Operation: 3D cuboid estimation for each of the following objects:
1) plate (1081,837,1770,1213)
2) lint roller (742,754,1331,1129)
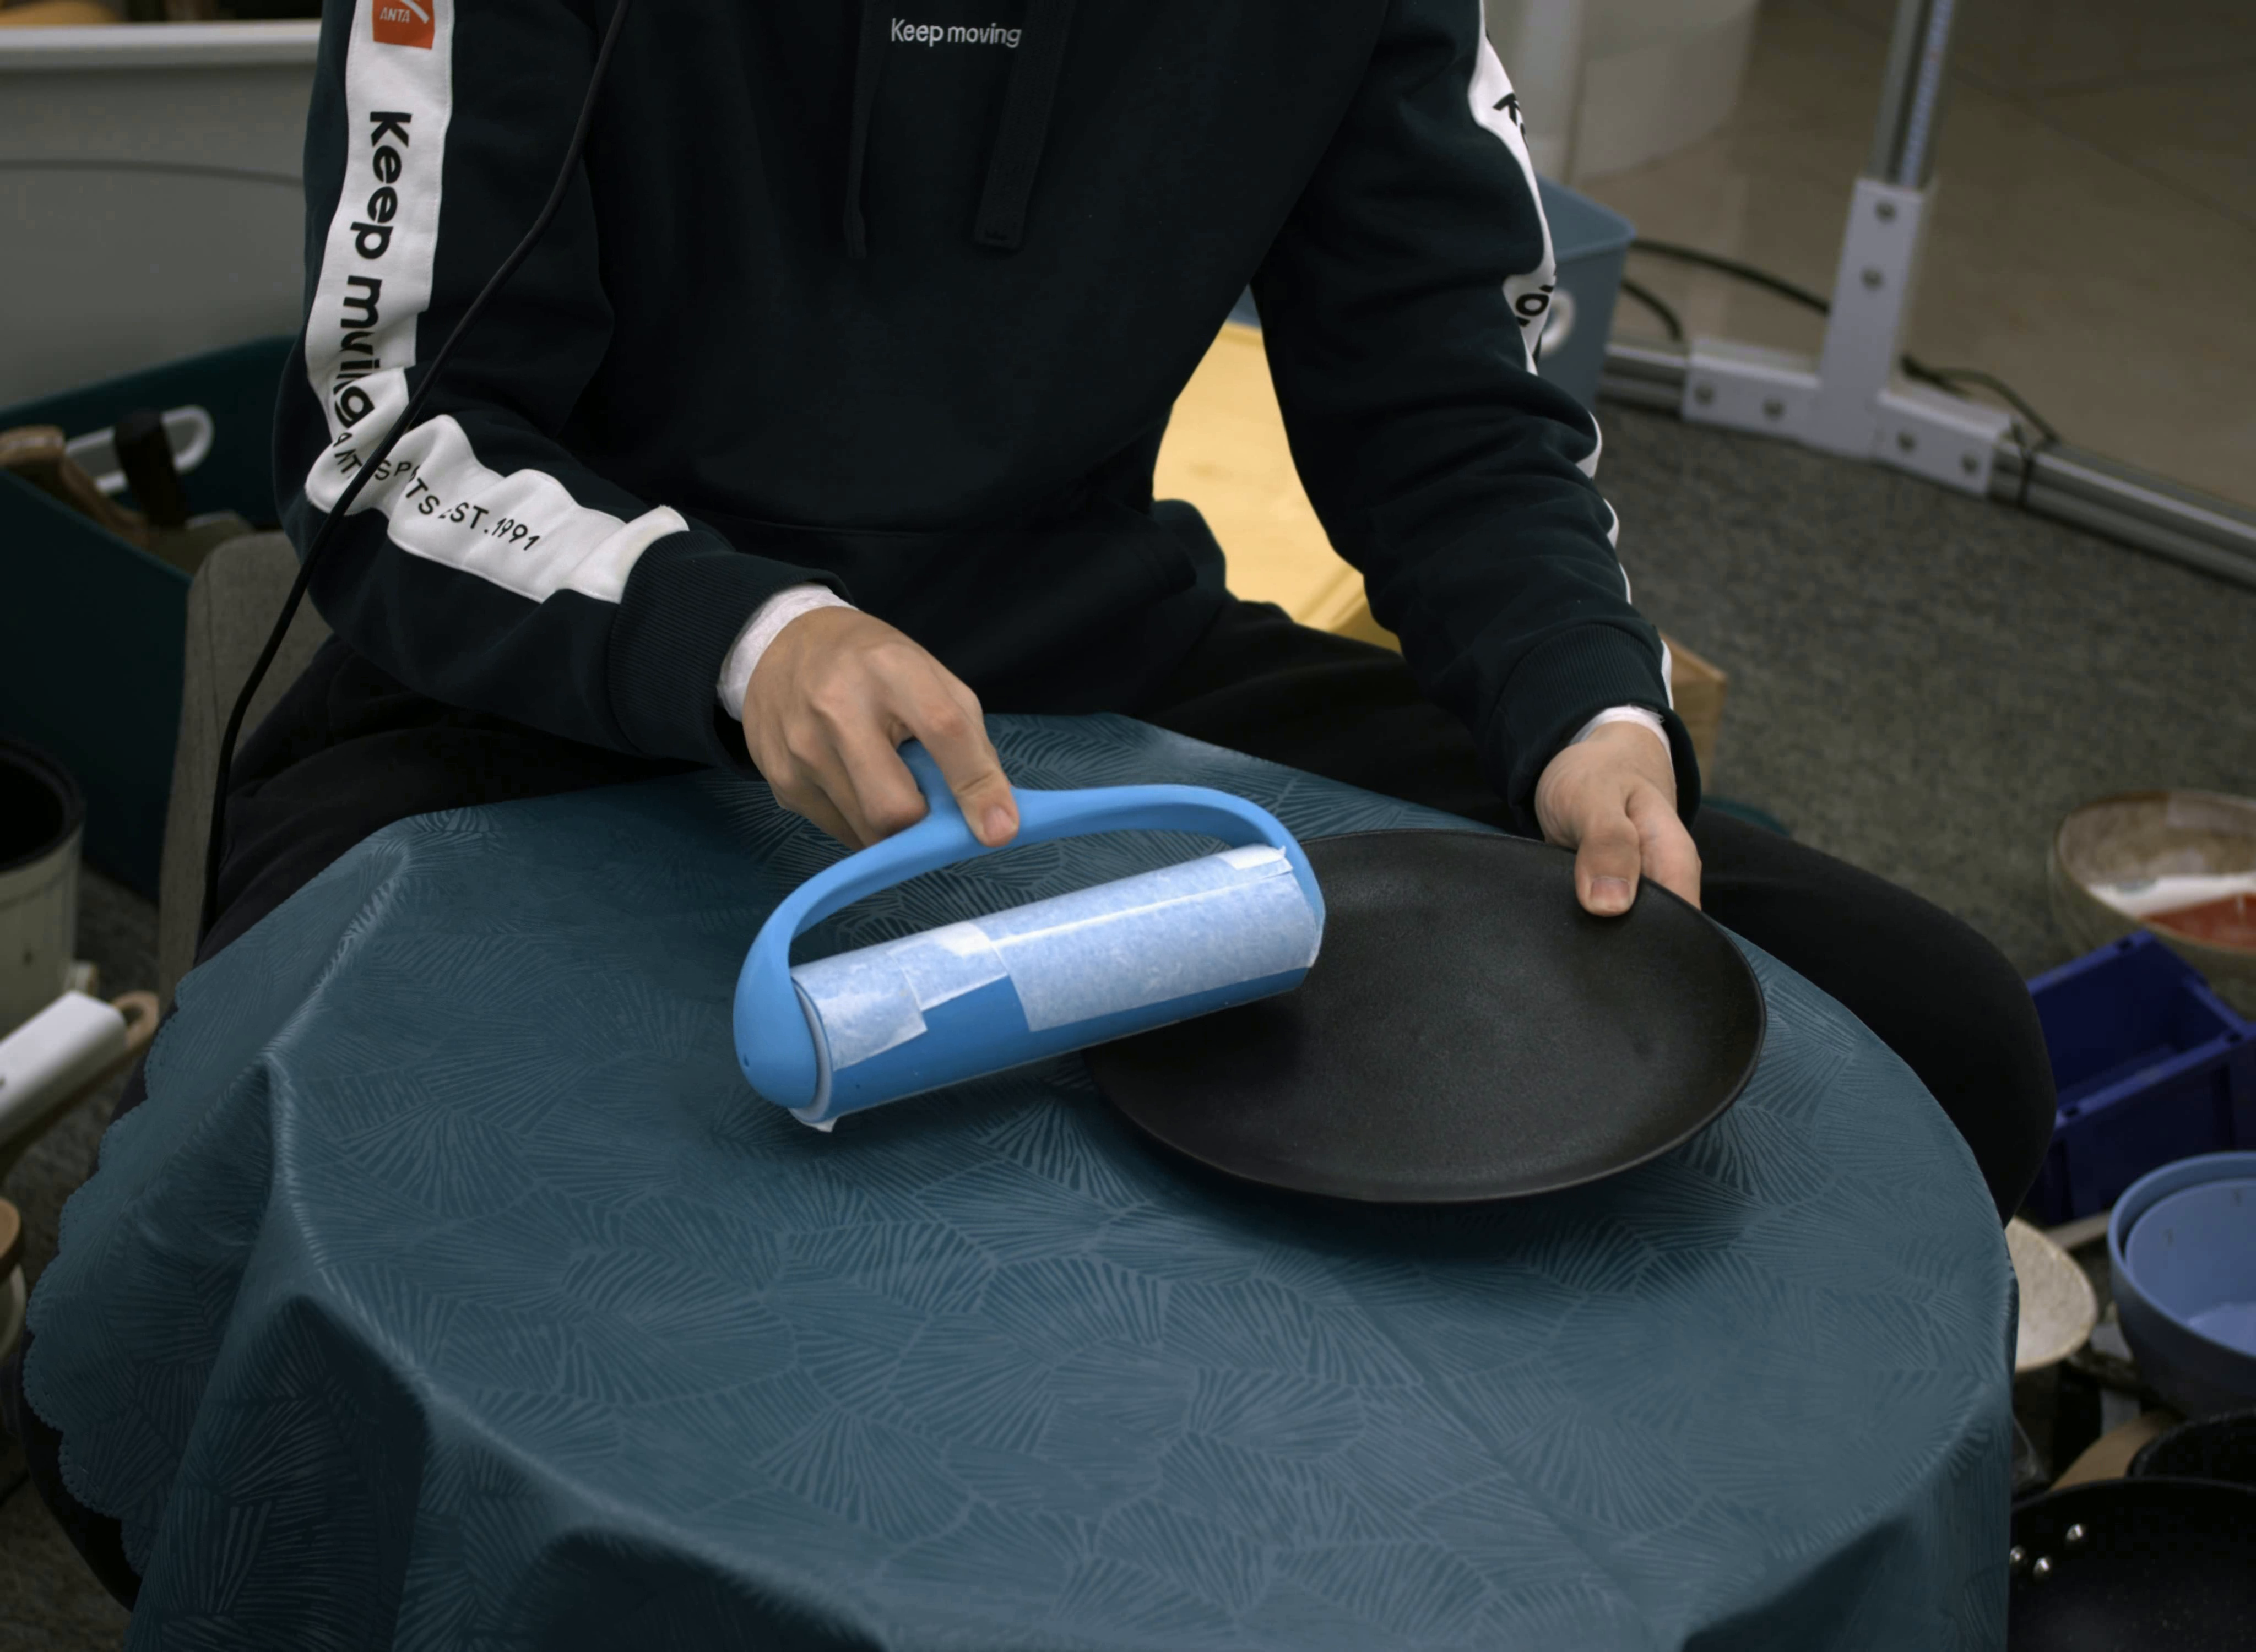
[{"bbox_3d":[0.103,0.073,1.869,0.244,0.023,0.246,-1,30,0],"label":"plate"},{"bbox_3d":[-0.060,0.017,1.872,0.228,0.067,0.182,-18,47,-29],"label":"lint roller"}]
